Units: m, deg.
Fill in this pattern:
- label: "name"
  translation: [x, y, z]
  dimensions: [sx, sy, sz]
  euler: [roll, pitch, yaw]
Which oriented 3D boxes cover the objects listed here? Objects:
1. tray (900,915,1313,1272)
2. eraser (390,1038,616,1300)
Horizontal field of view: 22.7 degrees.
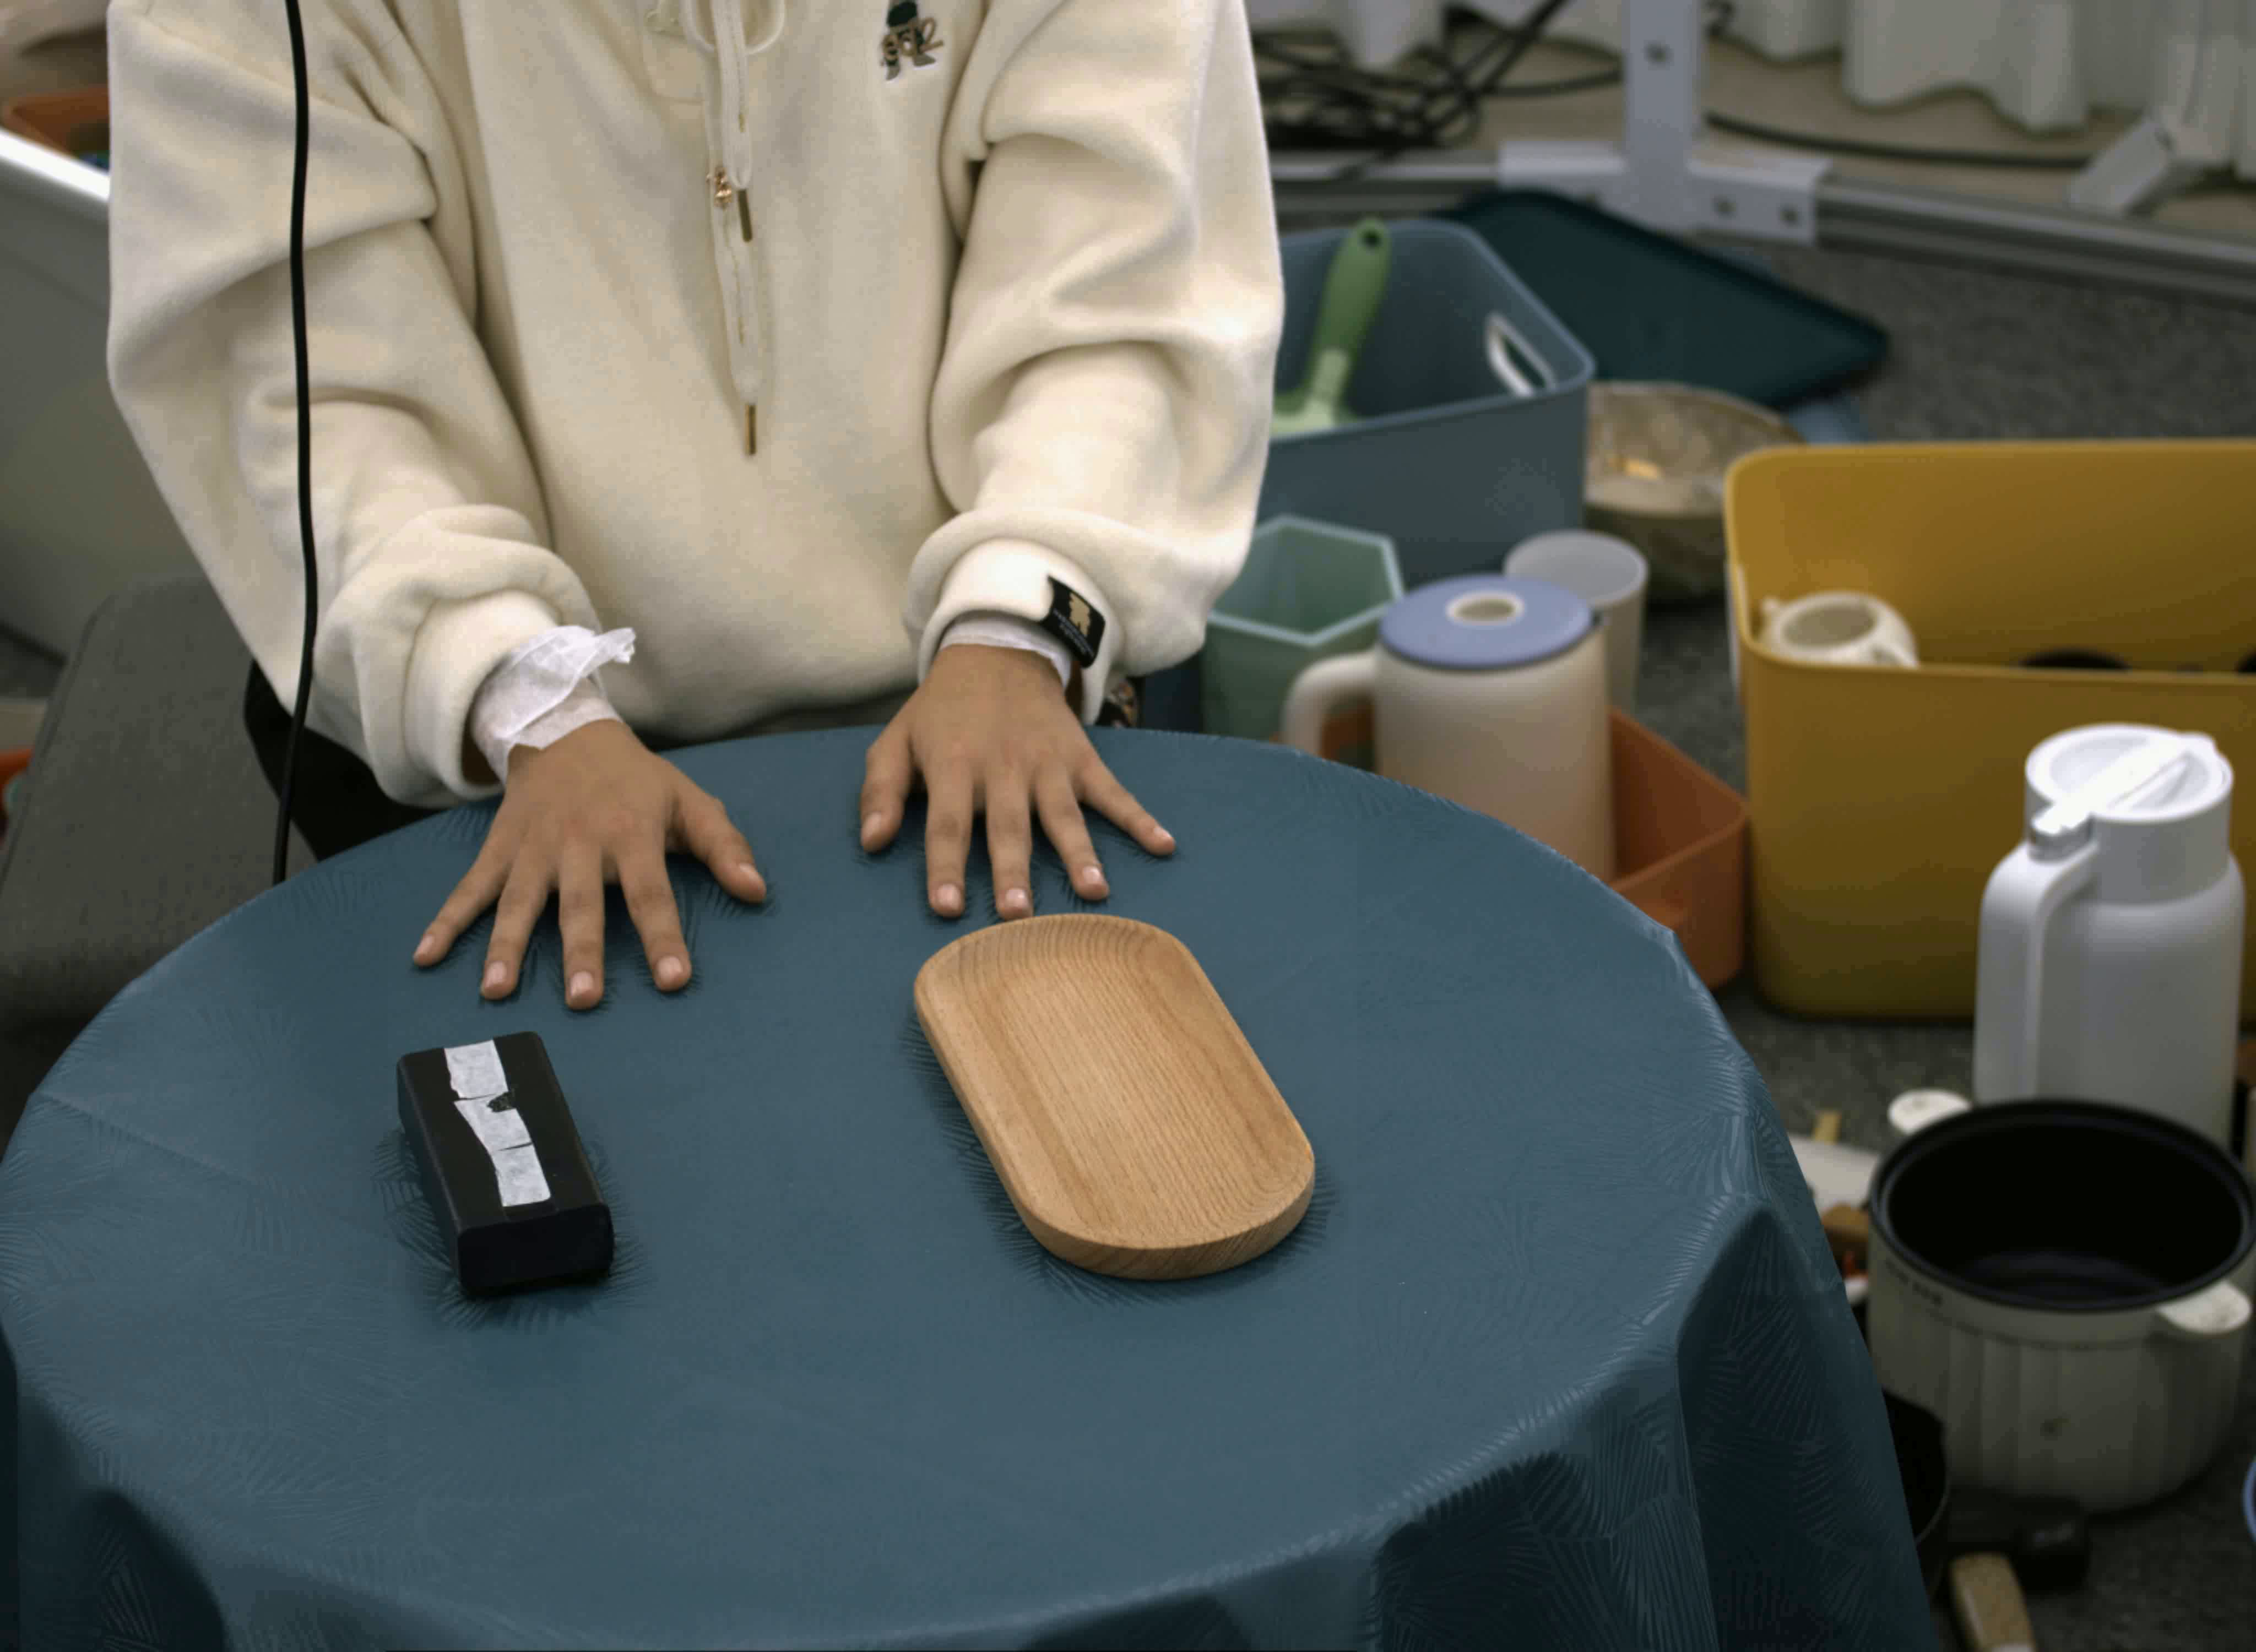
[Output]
- label: "tray"
  translation: [-0.009, 0.089, 1.909]
  dimensions: [0.102, 0.020, 0.233]
  euler: [-10, 26, -15]
- label: "eraser"
  translation: [-0.208, 0.114, 1.866]
  dimensions: [0.053, 0.030, 0.127]
  euler: [-5, 28, -16]
